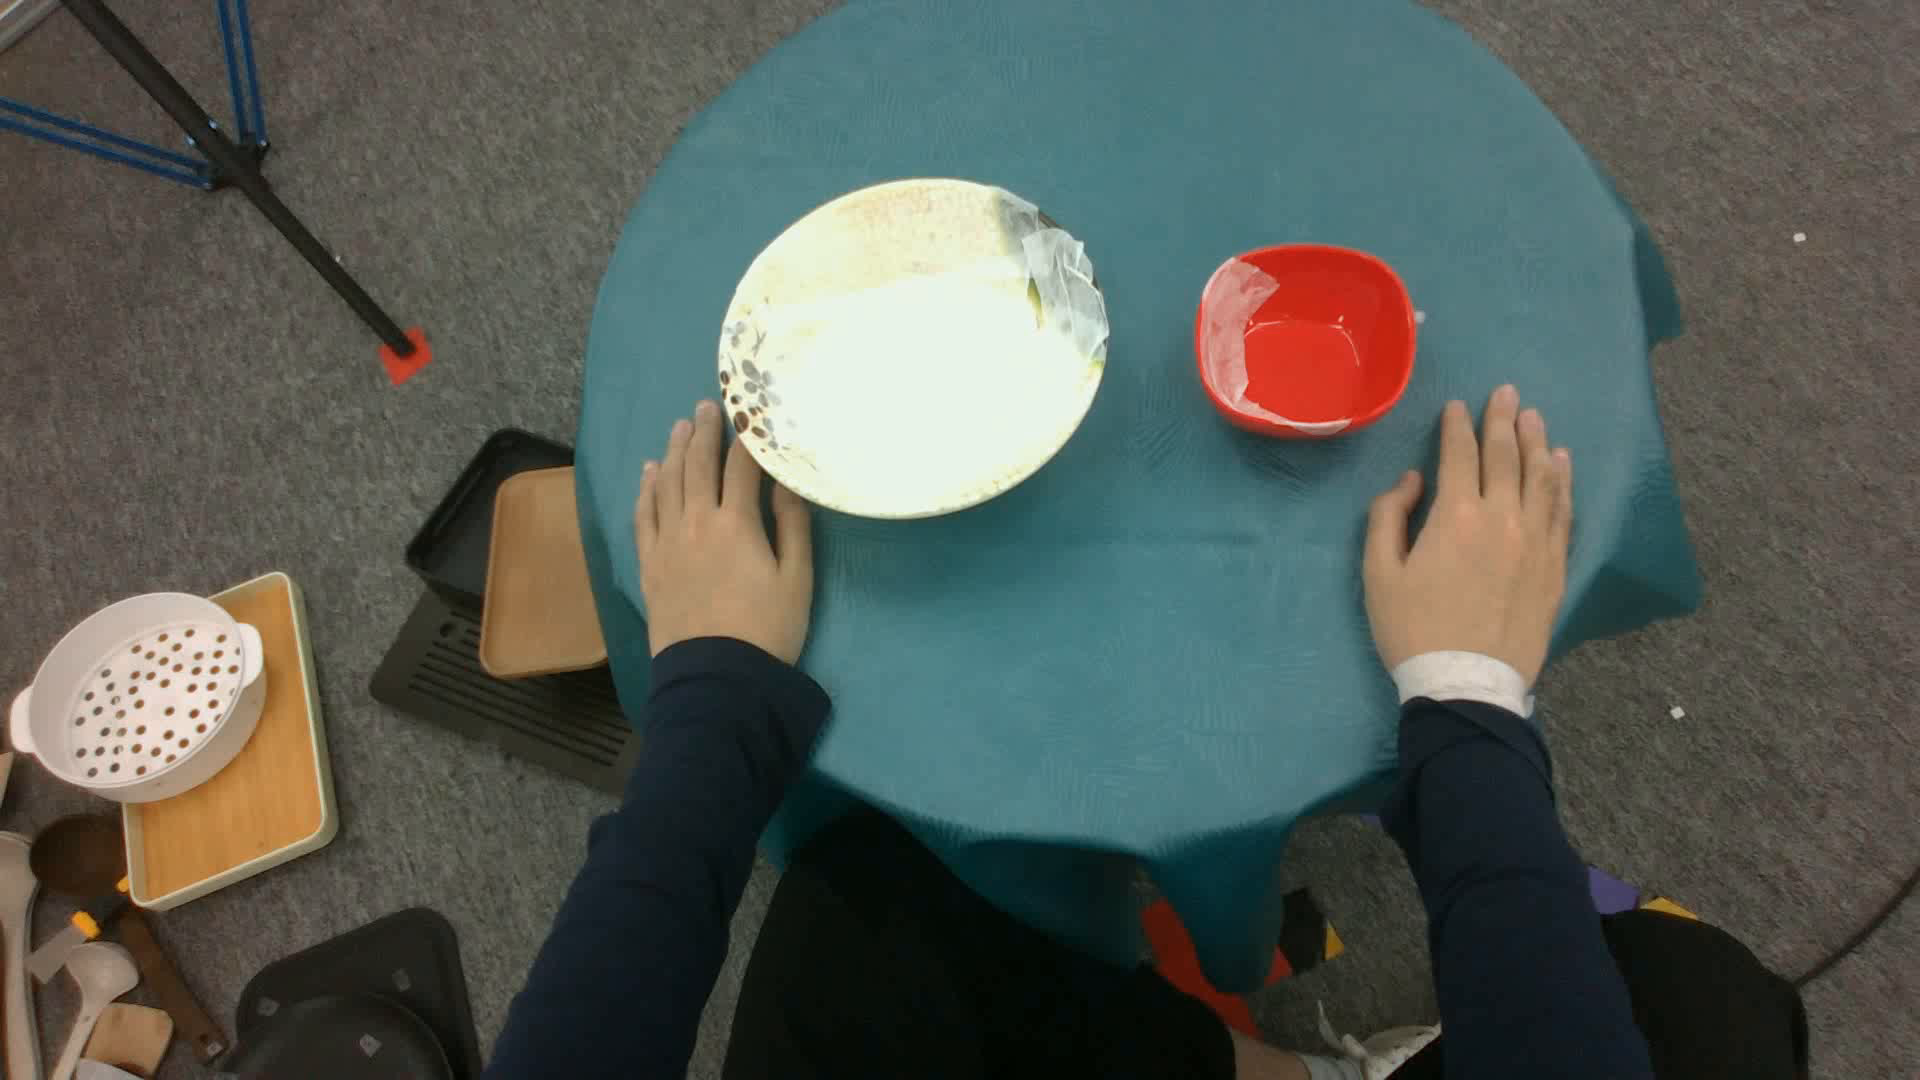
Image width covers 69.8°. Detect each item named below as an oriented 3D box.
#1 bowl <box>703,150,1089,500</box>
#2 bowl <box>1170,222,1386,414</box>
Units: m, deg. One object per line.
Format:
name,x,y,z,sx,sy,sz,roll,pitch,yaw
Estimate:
bowl,-0.029,-0.103,0.742,0.204,0.078,0.204,-3,69,9
bowl,0.166,-0.109,0.732,0.119,0.051,0.119,-2,65,4
